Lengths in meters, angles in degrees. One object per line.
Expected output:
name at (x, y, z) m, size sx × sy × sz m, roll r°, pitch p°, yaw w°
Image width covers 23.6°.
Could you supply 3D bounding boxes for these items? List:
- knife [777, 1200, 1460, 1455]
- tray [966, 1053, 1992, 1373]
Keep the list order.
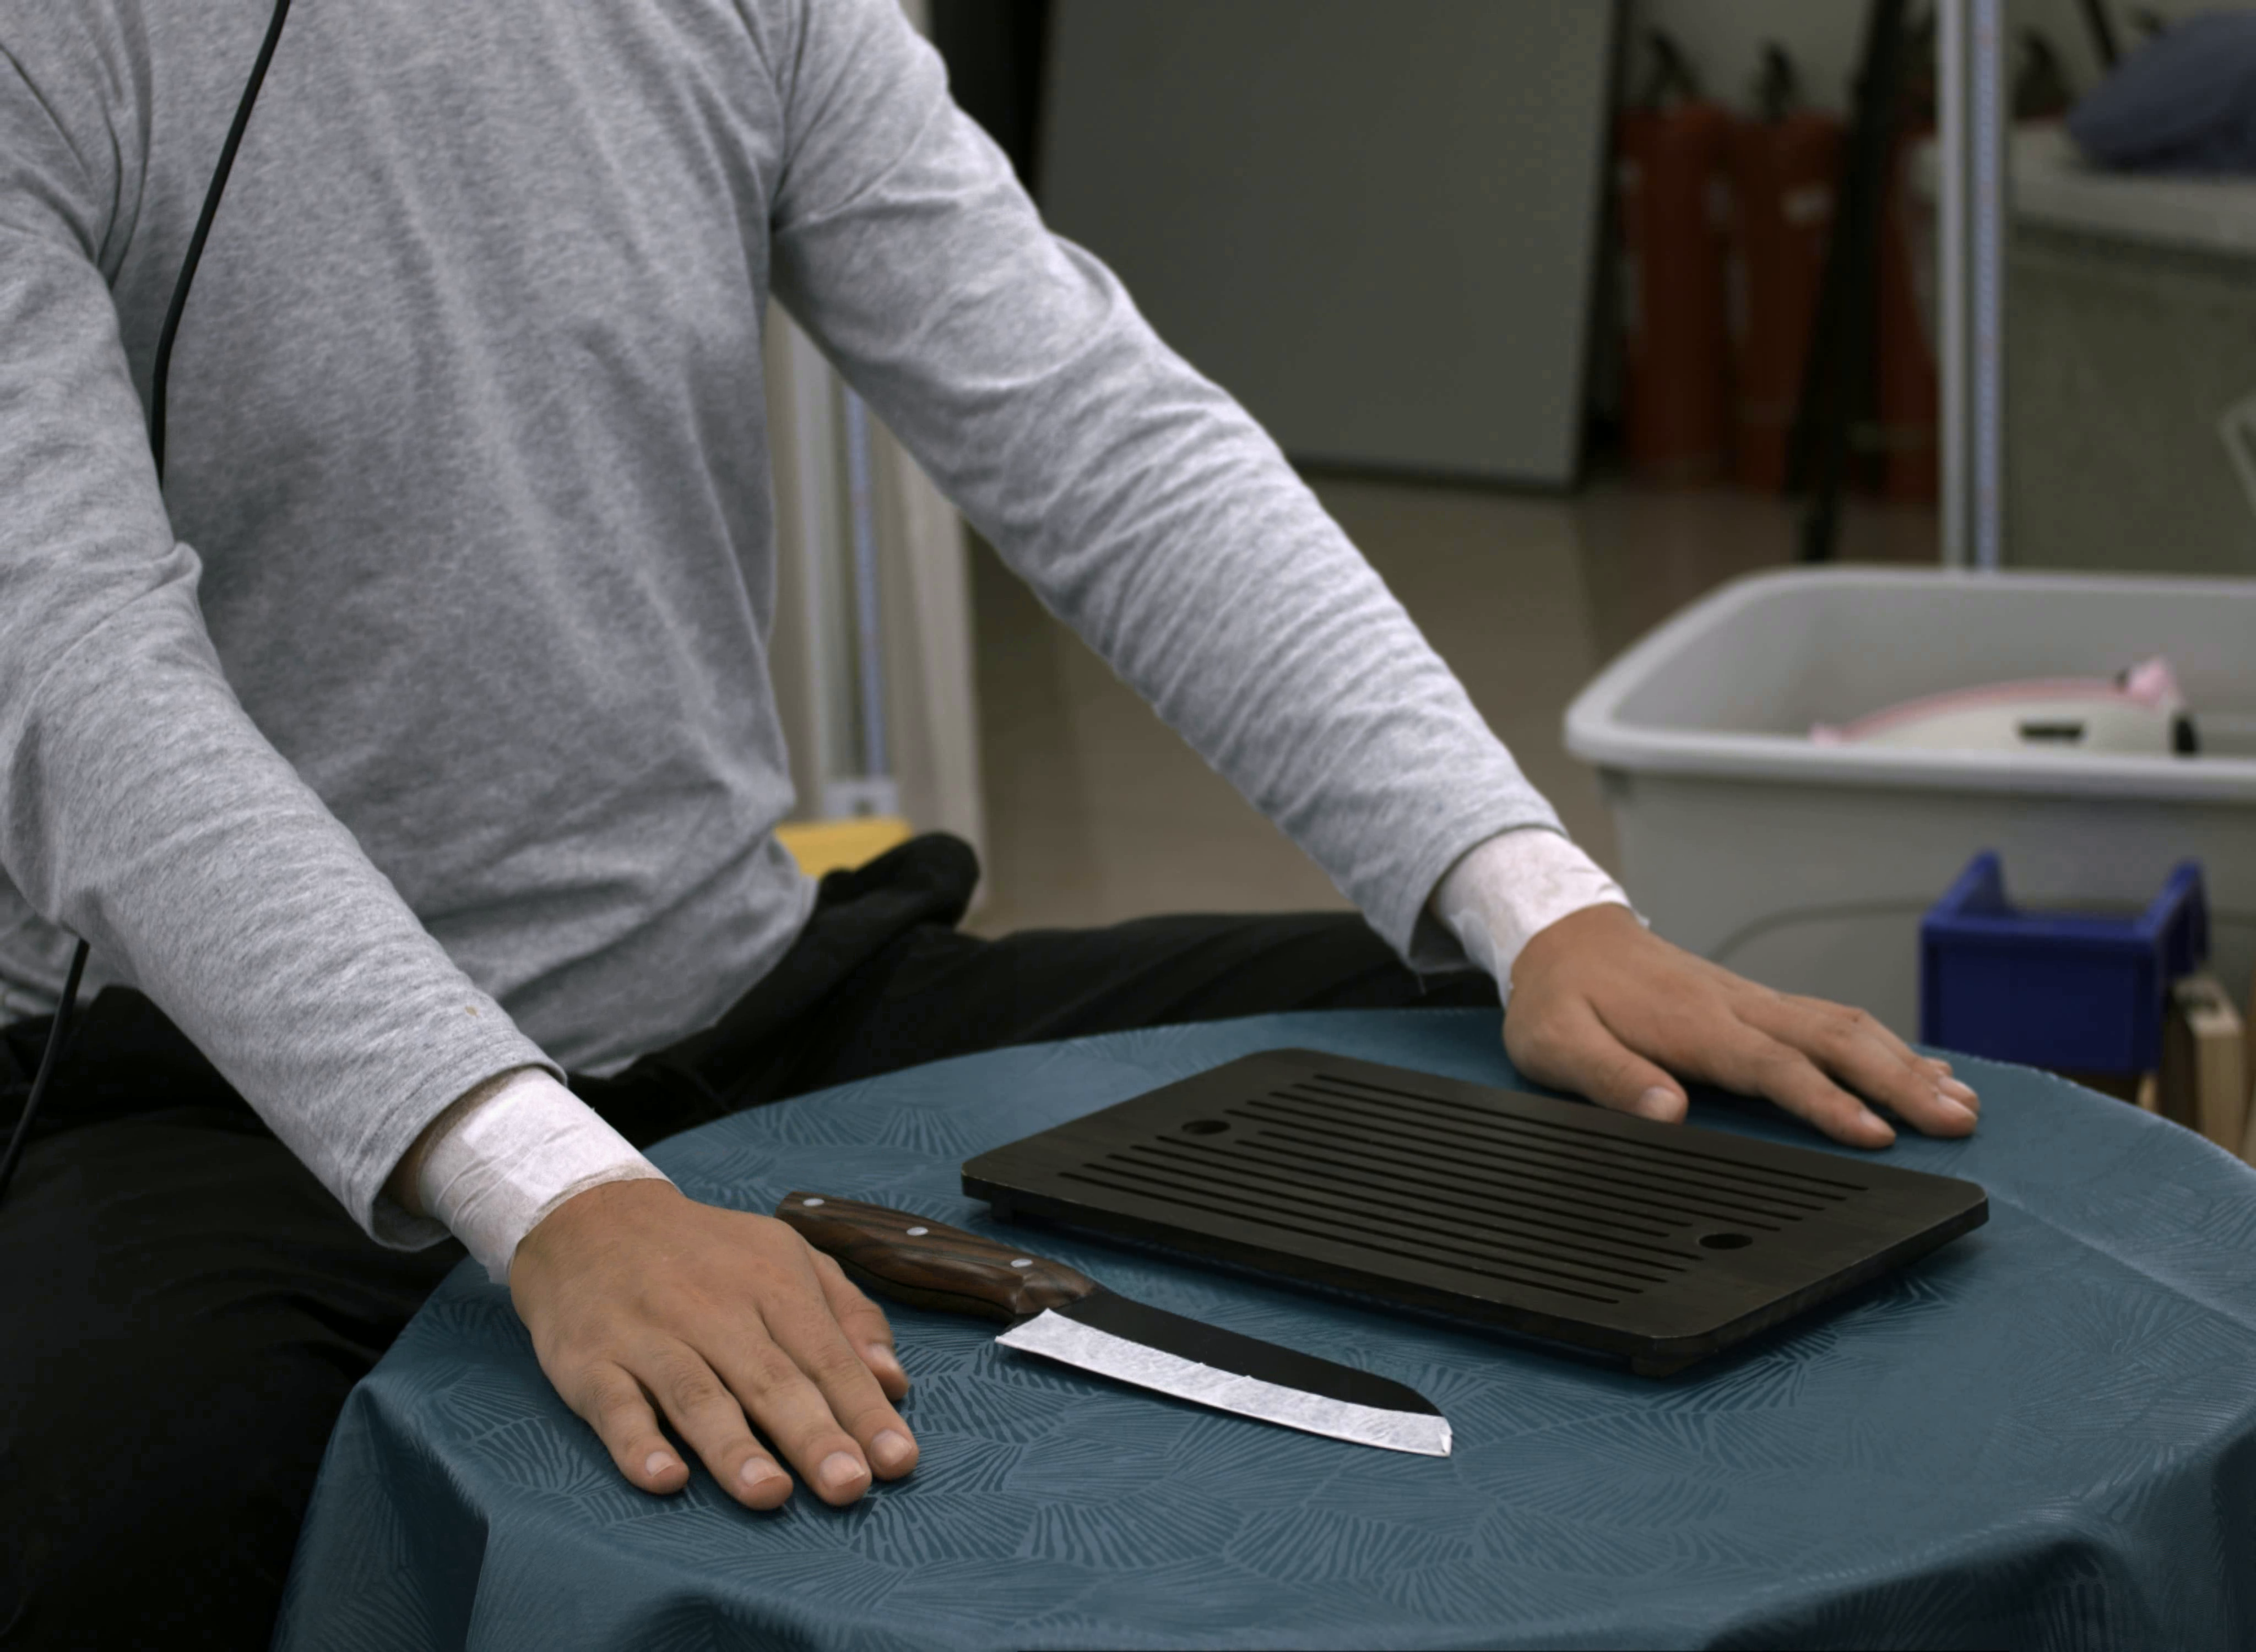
knife at (-0.007, 0.152, 1.620) m, size 0.049 × 0.020 × 0.292 m, roll -22°, pitch 24°, yaw -40°
tray at (0.107, 0.120, 1.712) m, size 0.309 × 0.019 × 0.166 m, roll 8°, pitch 19°, yaw 44°
